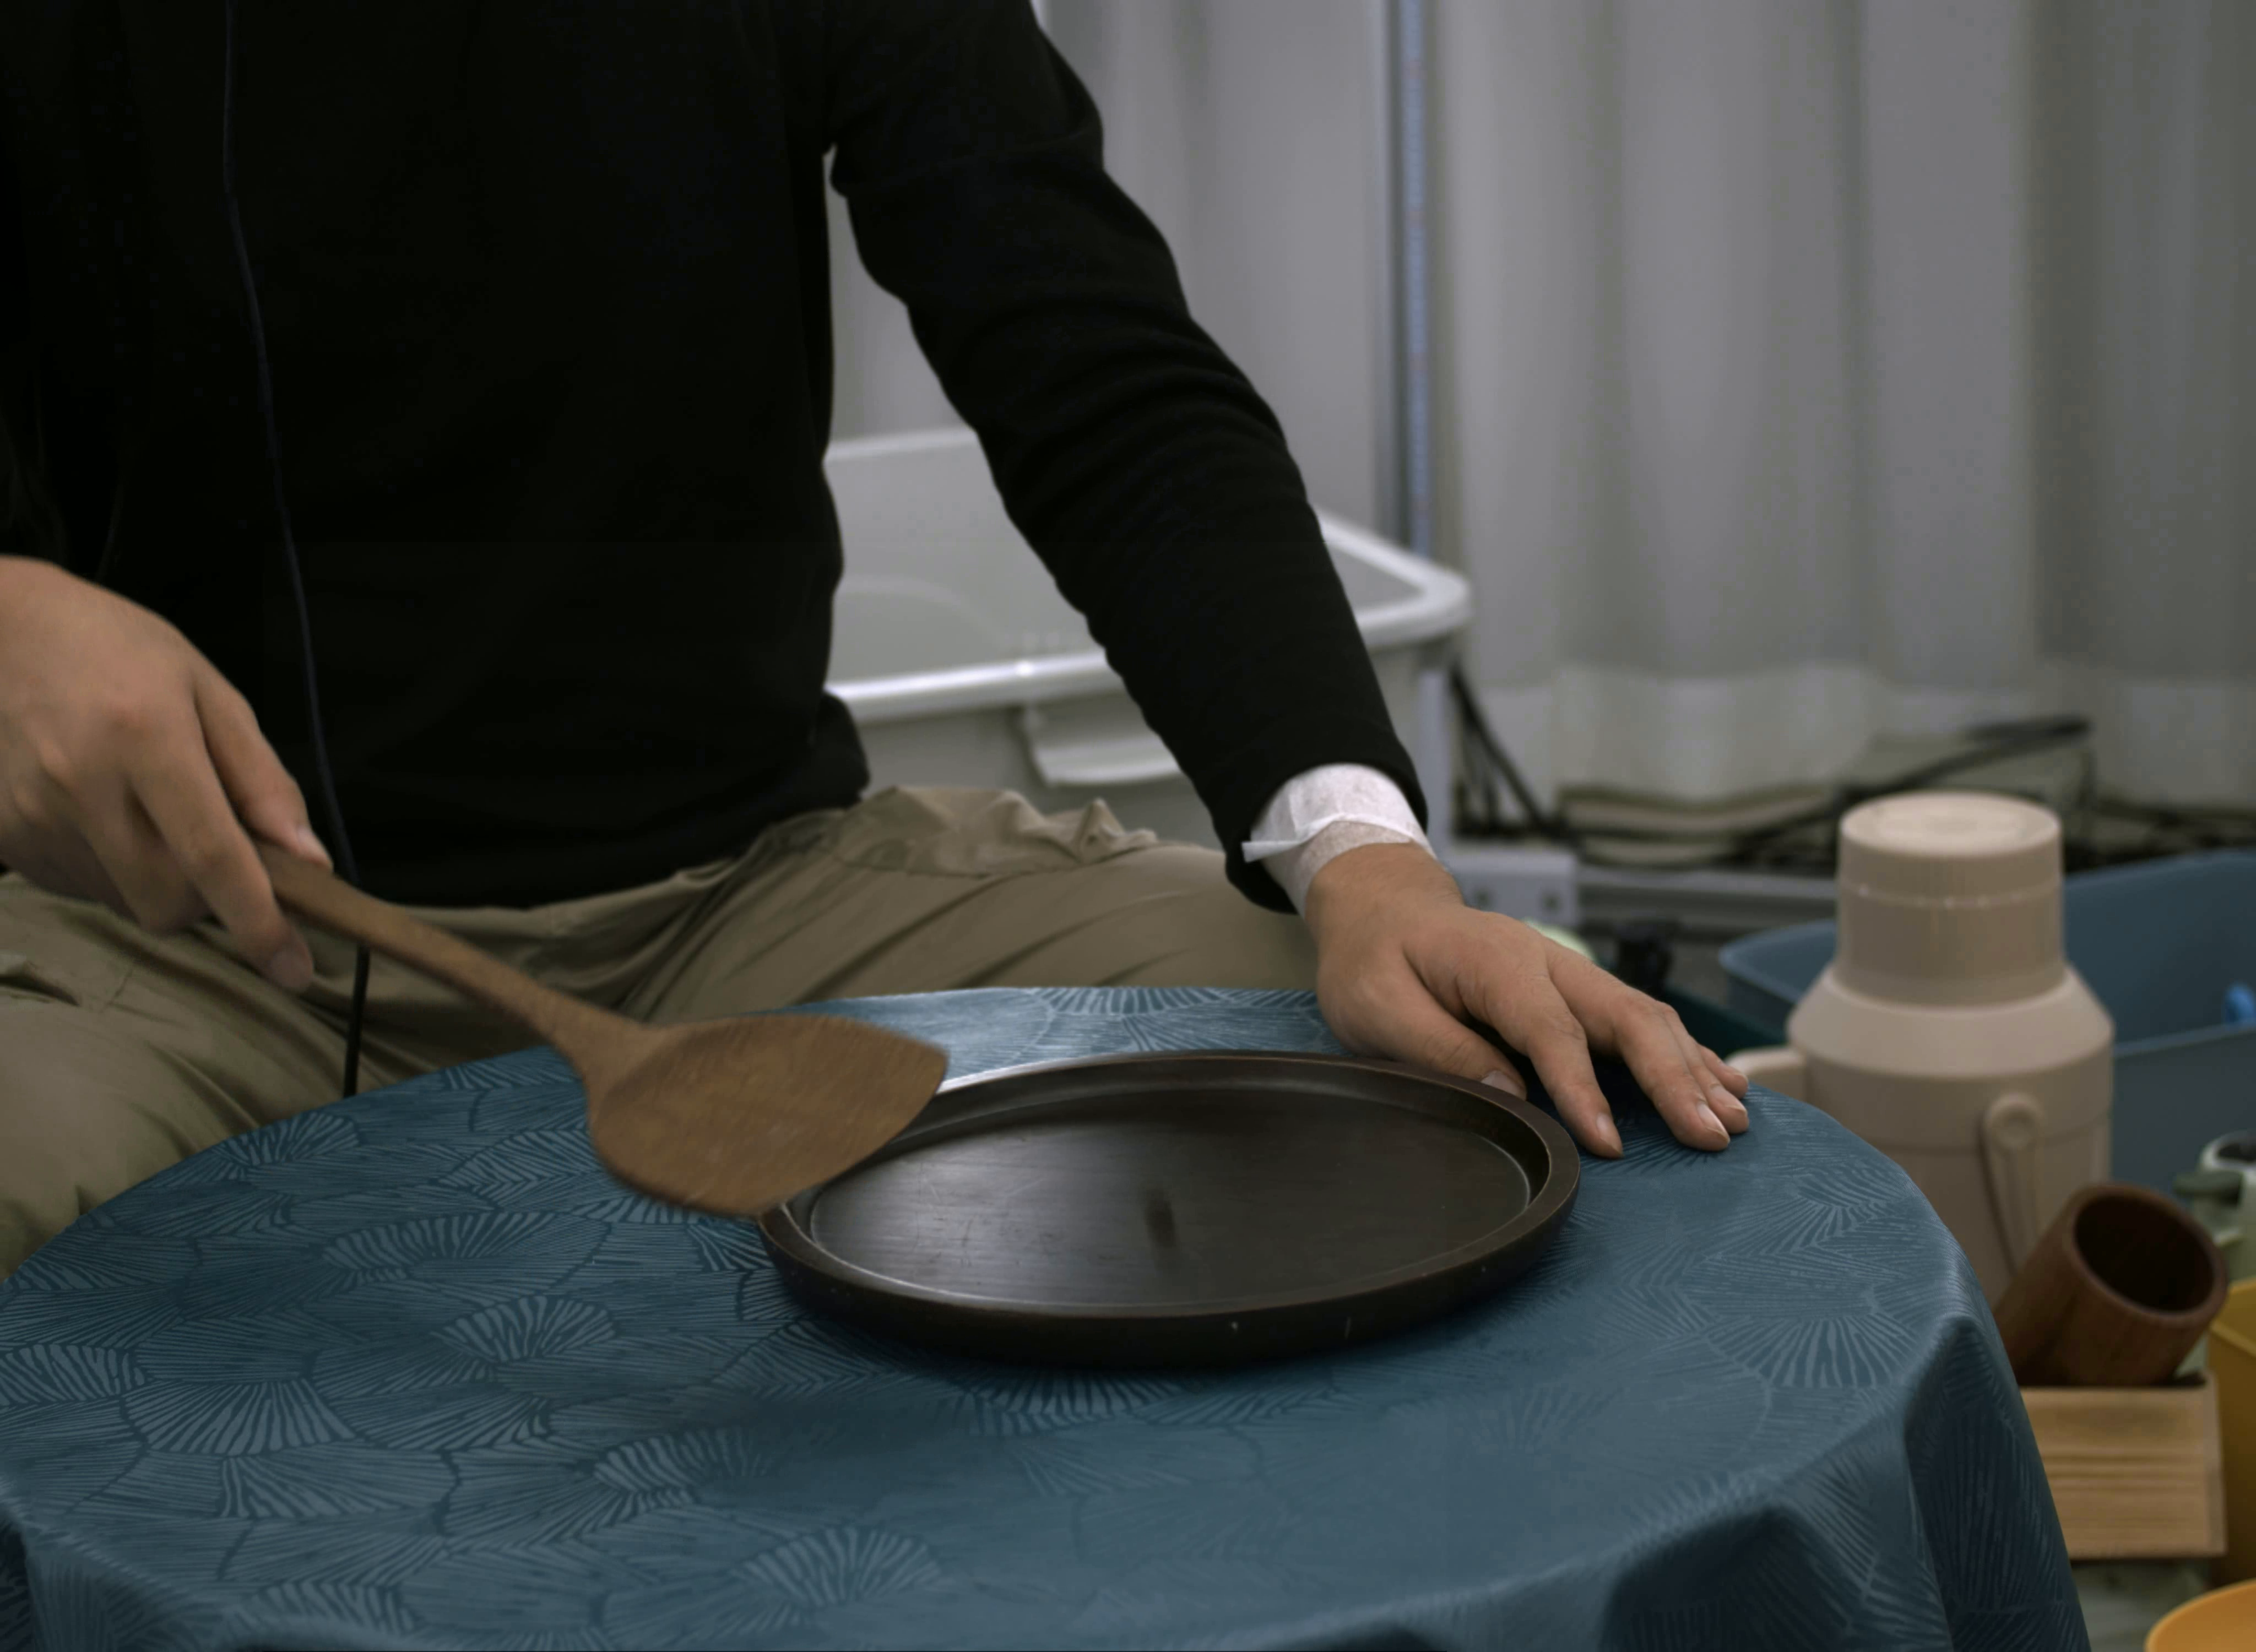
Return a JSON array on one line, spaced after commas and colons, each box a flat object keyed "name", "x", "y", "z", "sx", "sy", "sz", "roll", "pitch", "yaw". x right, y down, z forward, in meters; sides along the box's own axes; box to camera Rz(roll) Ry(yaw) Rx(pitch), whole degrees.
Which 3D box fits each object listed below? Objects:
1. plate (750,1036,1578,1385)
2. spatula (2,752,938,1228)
[{"name": "plate", "x": 0.011, "y": 0.116, "z": 1.665, "sx": 0.254, "sy": 0.029, "sz": 0.256, "roll": -3, "pitch": 16, "yaw": 1}, {"name": "spatula", "x": -0.214, "y": 0.039, "z": 1.623, "sx": 0.389, "sy": 0.015, "sz": 0.096, "roll": 23, "pitch": 43, "yaw": 38}]
